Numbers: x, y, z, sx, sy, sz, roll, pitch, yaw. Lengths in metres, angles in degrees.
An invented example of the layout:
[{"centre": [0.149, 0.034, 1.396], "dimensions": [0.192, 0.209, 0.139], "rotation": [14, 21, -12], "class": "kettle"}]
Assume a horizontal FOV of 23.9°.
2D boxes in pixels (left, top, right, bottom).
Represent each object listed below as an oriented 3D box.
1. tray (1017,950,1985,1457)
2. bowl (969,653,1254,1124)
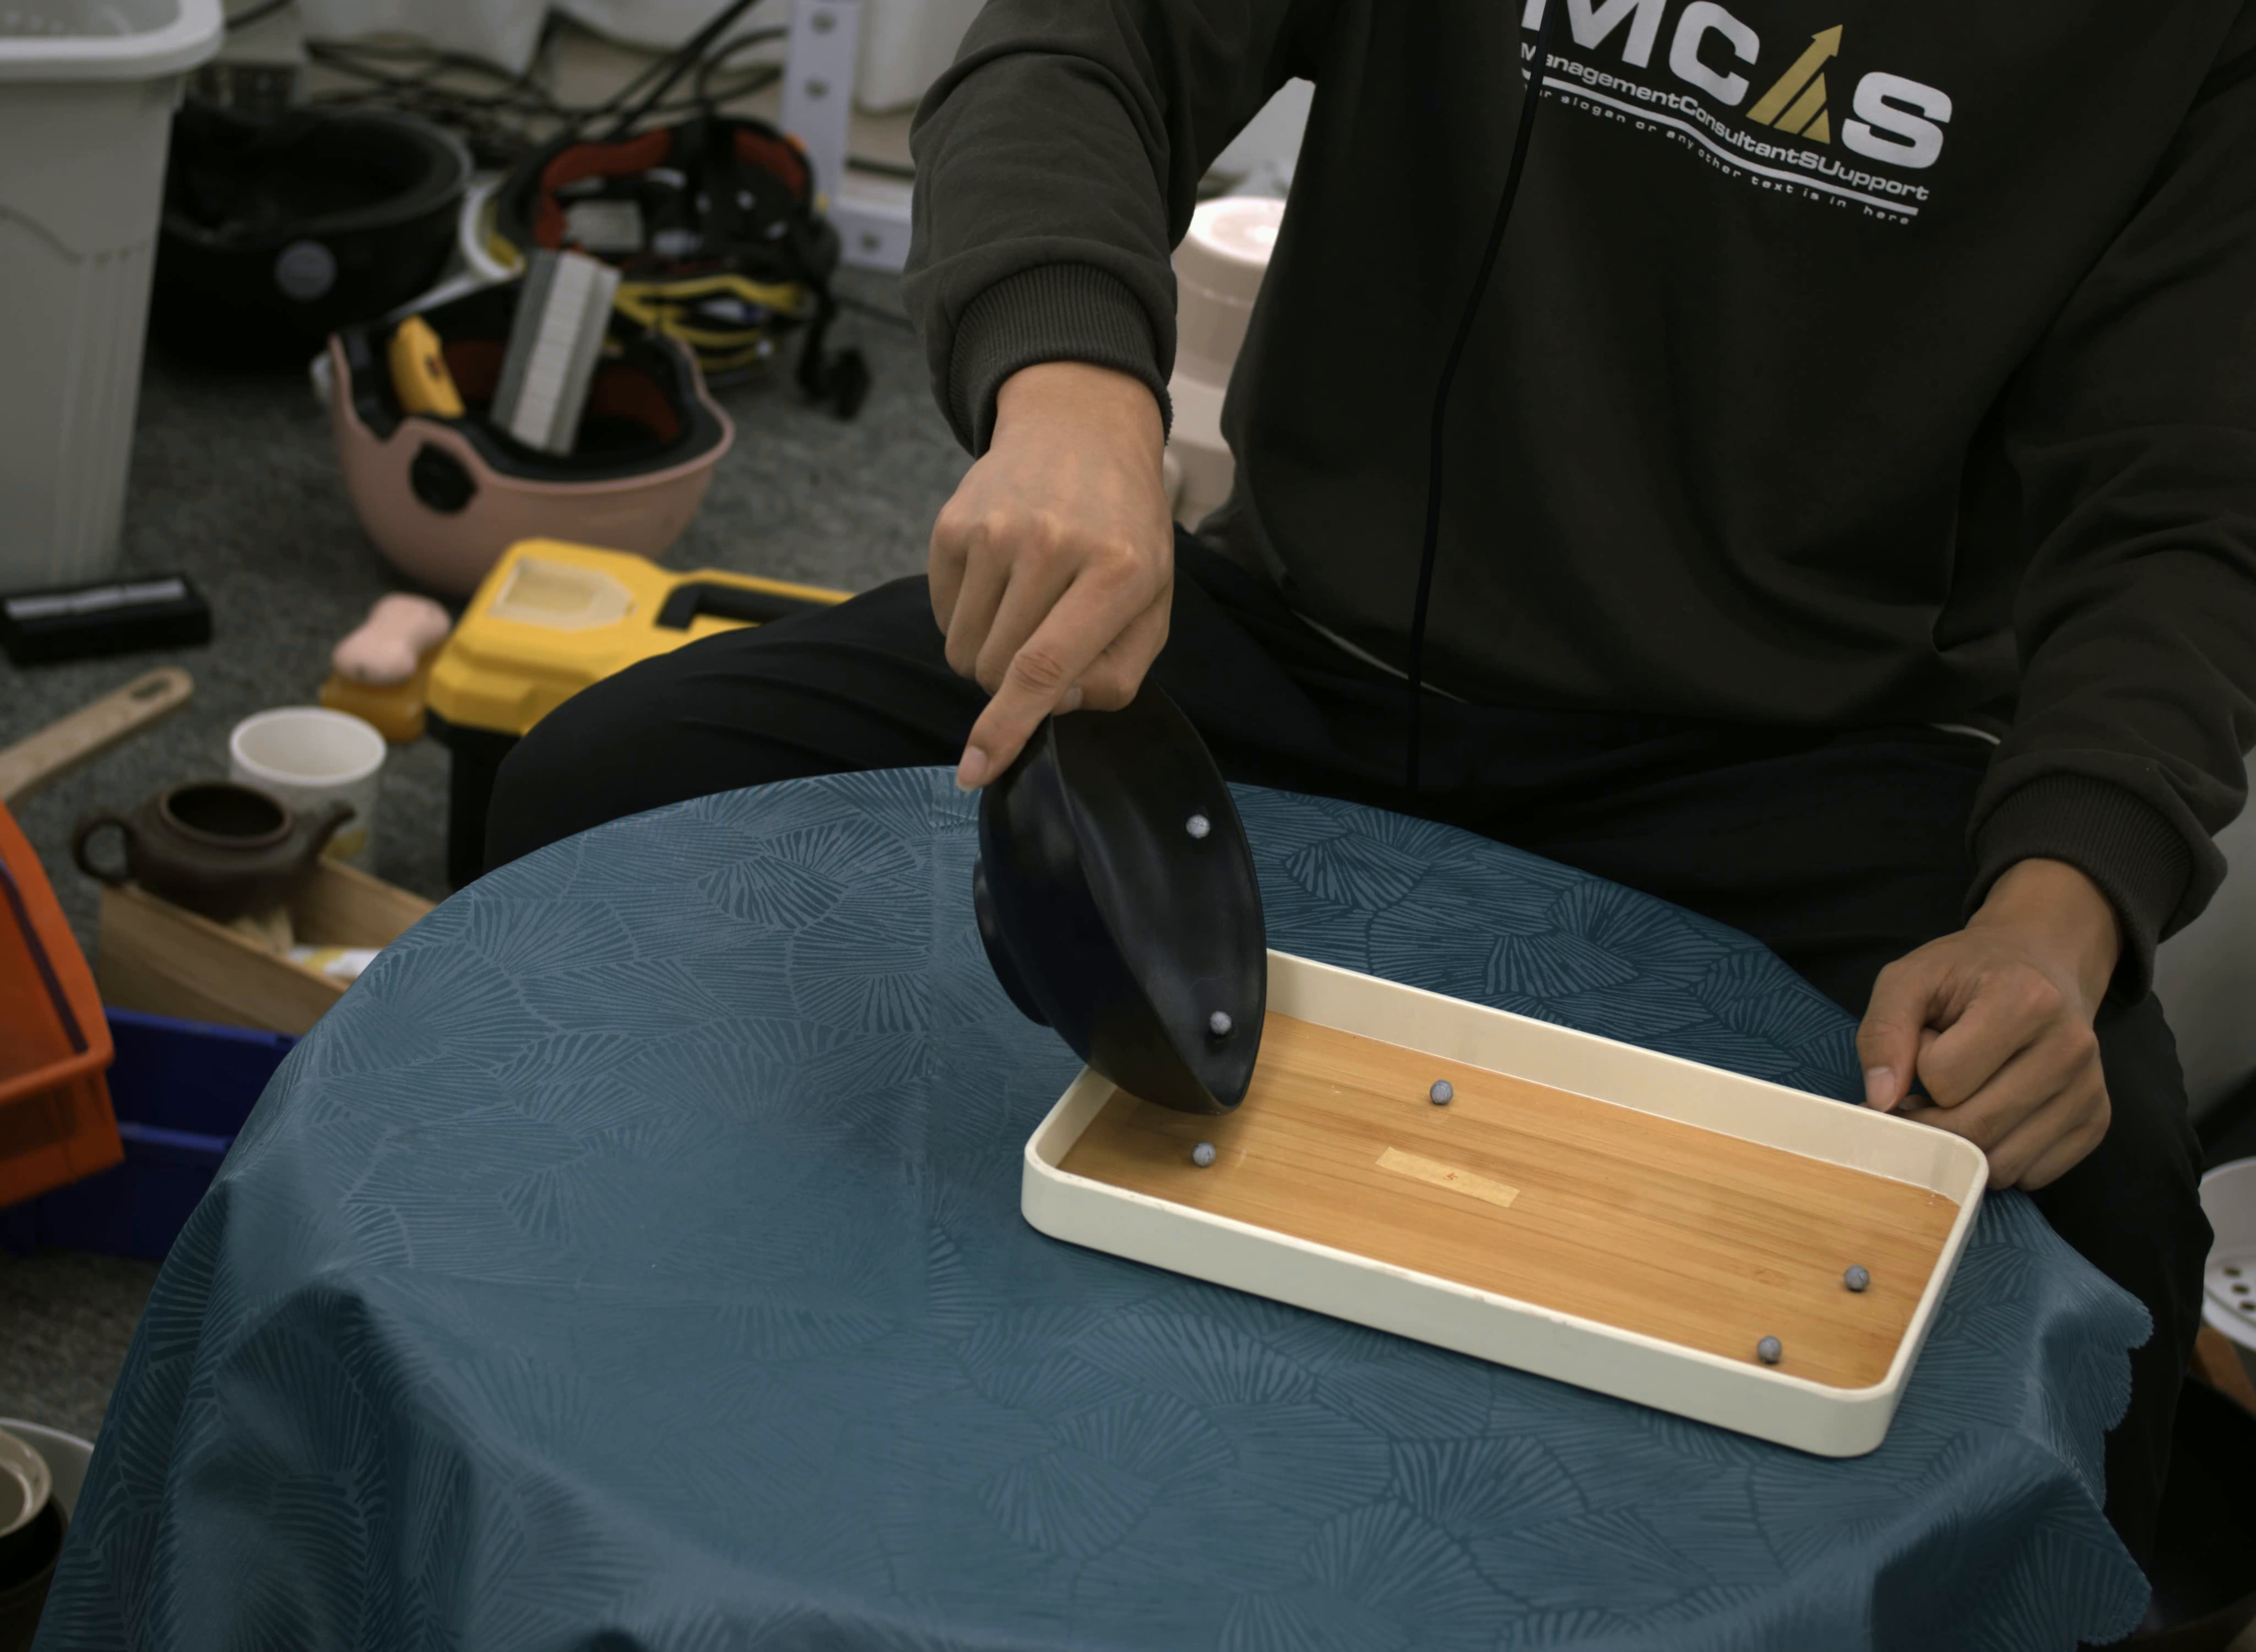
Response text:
[{"centre": [0.129, 0.122, 1.810], "dimensions": [0.301, 0.027, 0.192], "rotation": [14, 27, 15], "class": "tray"}, {"centre": [-0.011, 0.026, 1.821], "dimensions": [0.067, 0.169, 0.138], "rotation": [-16, 23, 24], "class": "bowl"}]
